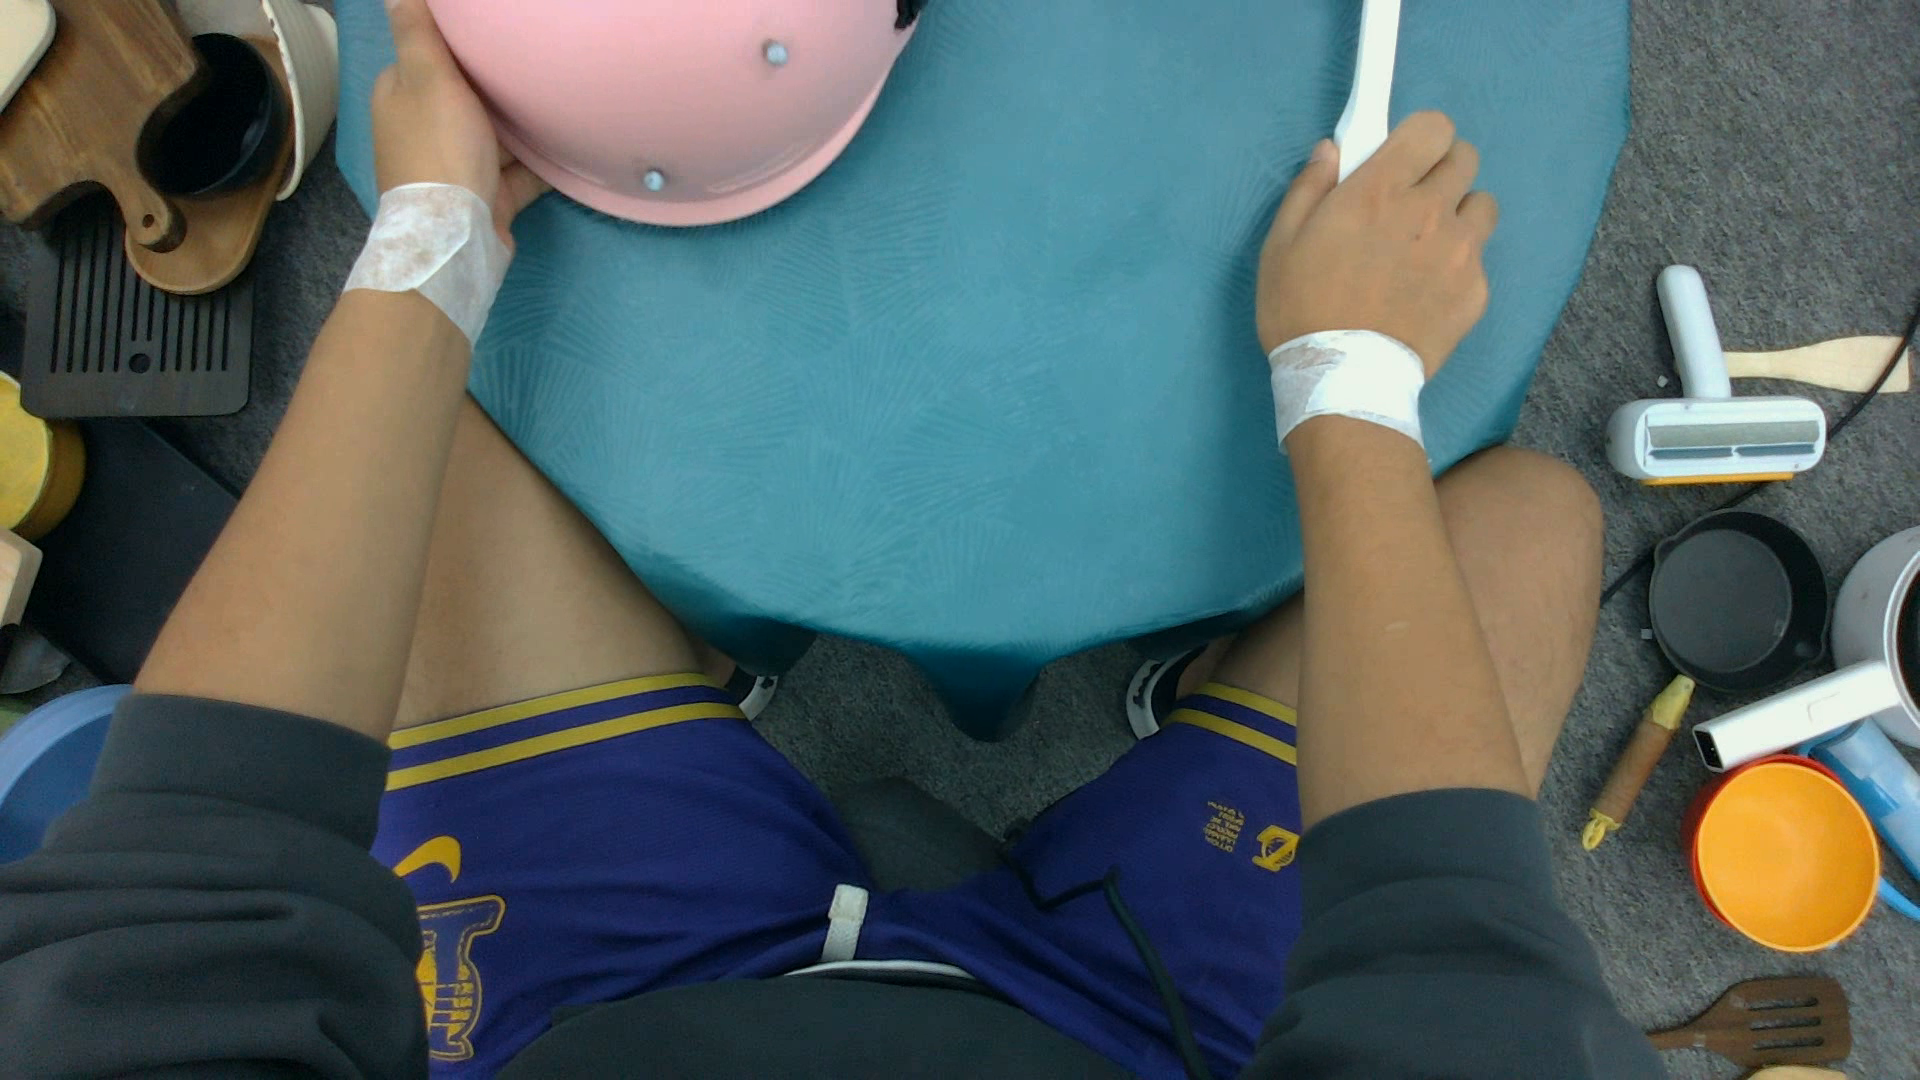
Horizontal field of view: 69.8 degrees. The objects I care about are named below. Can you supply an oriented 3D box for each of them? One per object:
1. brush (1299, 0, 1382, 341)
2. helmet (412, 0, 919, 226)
[{"bbox_3d":[0.180,-0.215,0.637,0.034,0.050,0.243,5,102,-5],"label":"brush"},{"bbox_3d":[-0.128,-0.272,0.558,0.234,0.159,0.266,2,93,-4],"label":"helmet"}]
